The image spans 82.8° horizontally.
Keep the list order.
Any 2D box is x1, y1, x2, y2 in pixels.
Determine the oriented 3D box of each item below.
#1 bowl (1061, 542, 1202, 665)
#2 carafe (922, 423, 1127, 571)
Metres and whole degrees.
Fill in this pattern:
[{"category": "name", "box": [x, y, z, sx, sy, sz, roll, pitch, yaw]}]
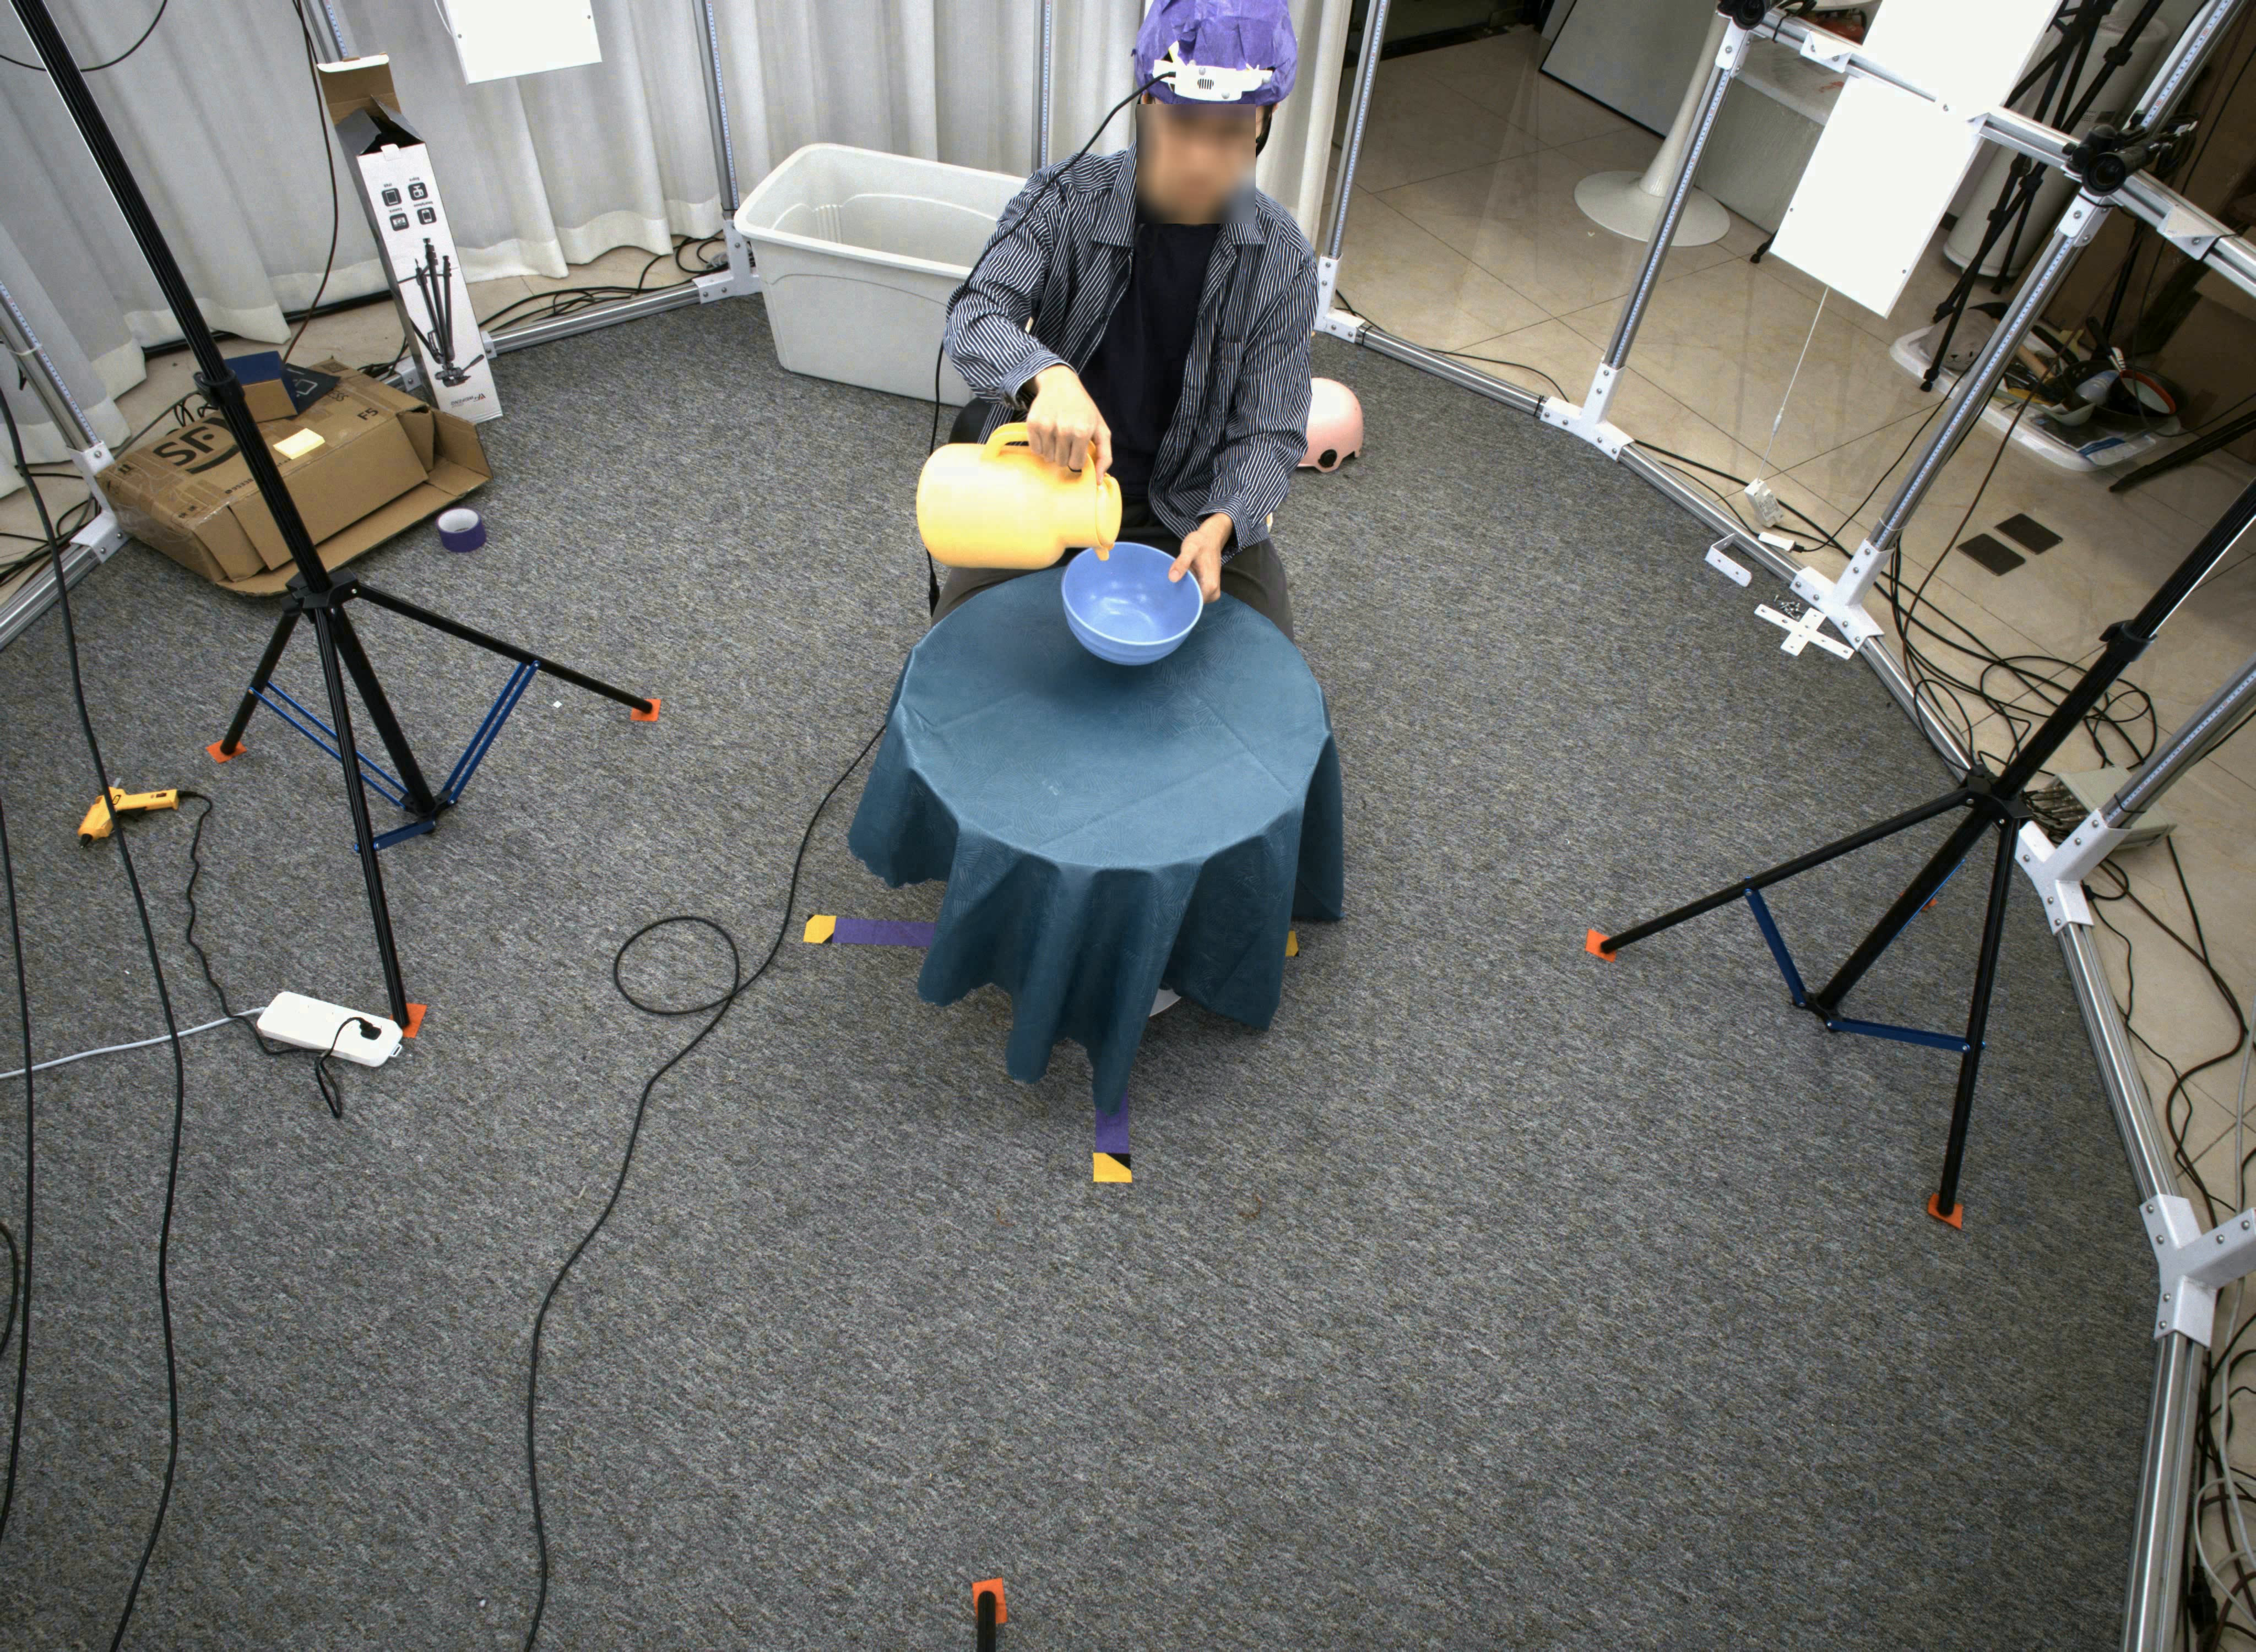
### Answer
[{"category": "bowl", "box": [-0.002, -0.294, 1.792, 0.196, 0.093, 0.201, 6, 52, -8]}, {"category": "carafe", "box": [-0.134, -0.436, 1.705, 0.261, 0.197, 0.167, 6, 47, 16]}]
